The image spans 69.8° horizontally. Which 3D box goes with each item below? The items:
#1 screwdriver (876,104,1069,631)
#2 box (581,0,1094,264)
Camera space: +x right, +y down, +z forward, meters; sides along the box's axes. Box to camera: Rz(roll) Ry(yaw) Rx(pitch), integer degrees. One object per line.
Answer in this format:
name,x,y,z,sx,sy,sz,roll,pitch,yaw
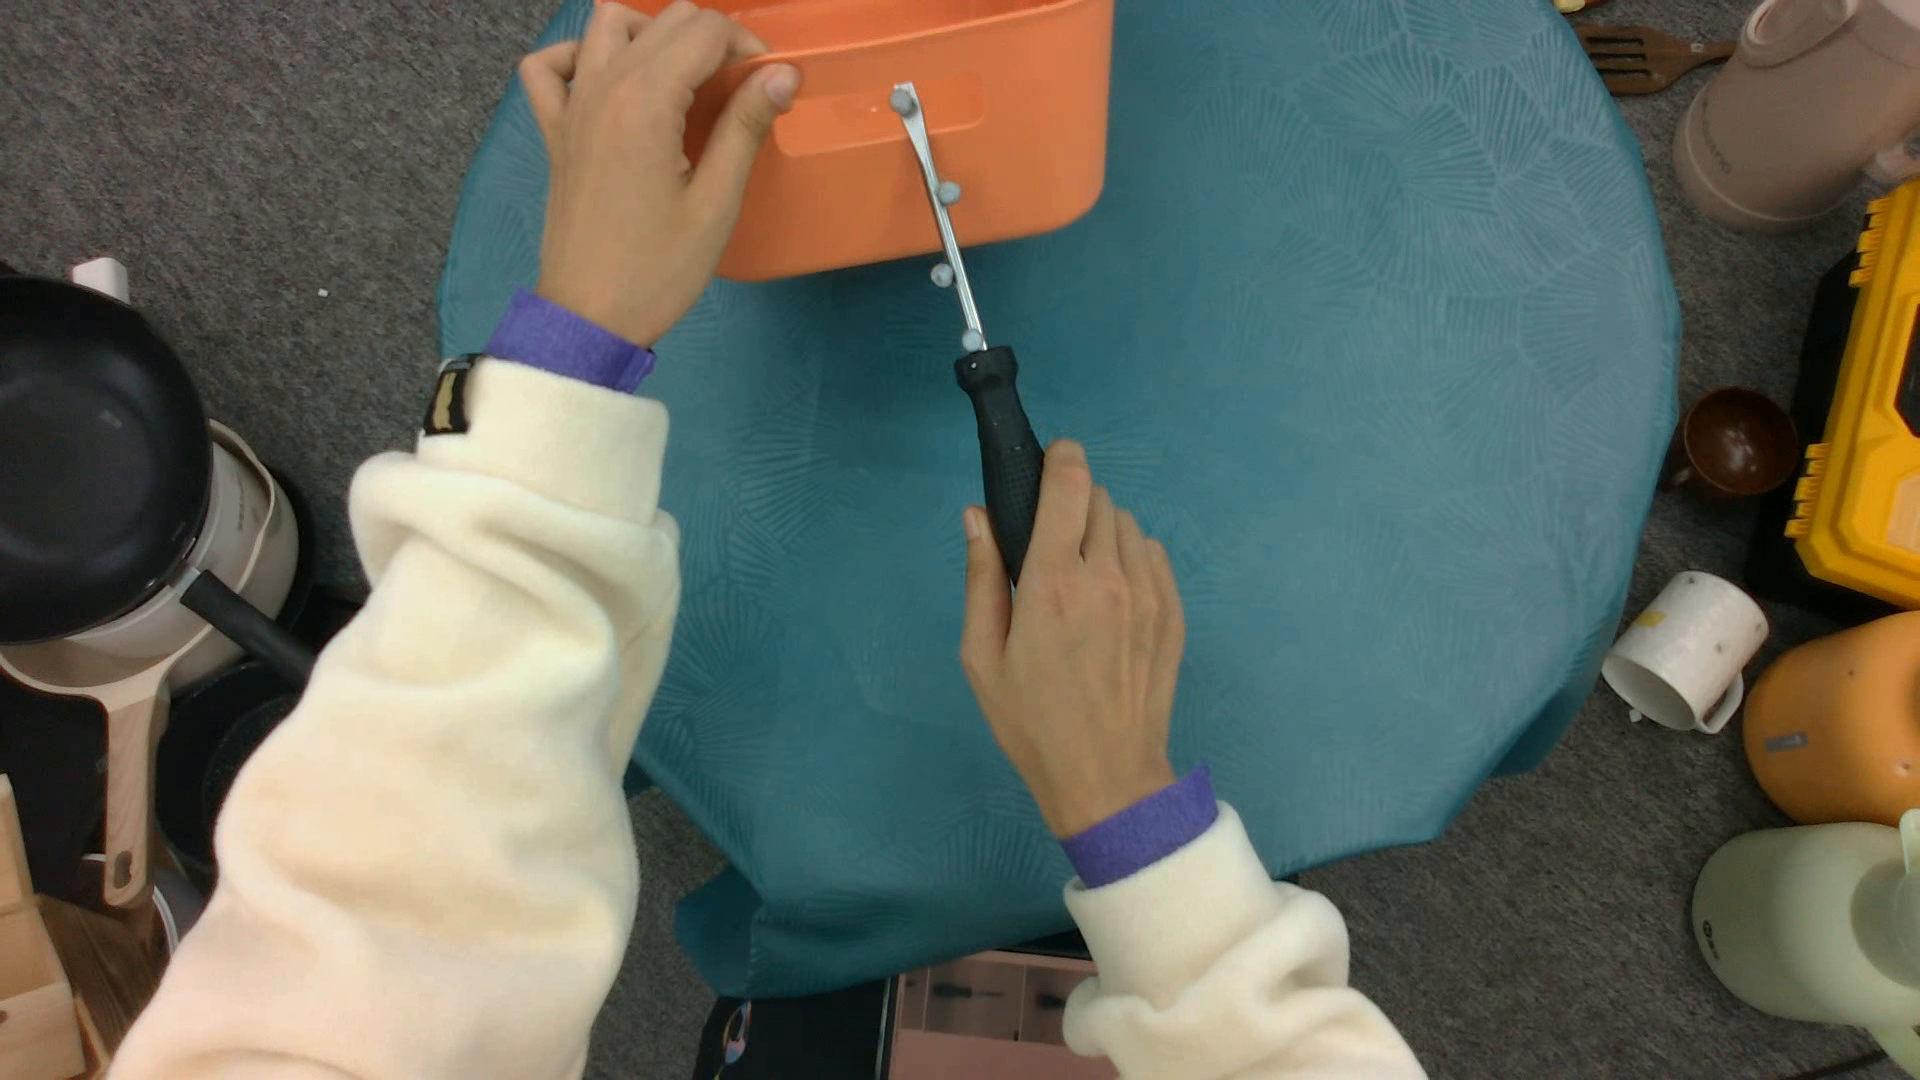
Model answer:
screwdriver,-0.002,-0.062,0.499,0.031,0.031,0.198,-20,88,-4
box,-0.053,-0.235,0.602,0.199,0.102,0.274,-10,45,-2
